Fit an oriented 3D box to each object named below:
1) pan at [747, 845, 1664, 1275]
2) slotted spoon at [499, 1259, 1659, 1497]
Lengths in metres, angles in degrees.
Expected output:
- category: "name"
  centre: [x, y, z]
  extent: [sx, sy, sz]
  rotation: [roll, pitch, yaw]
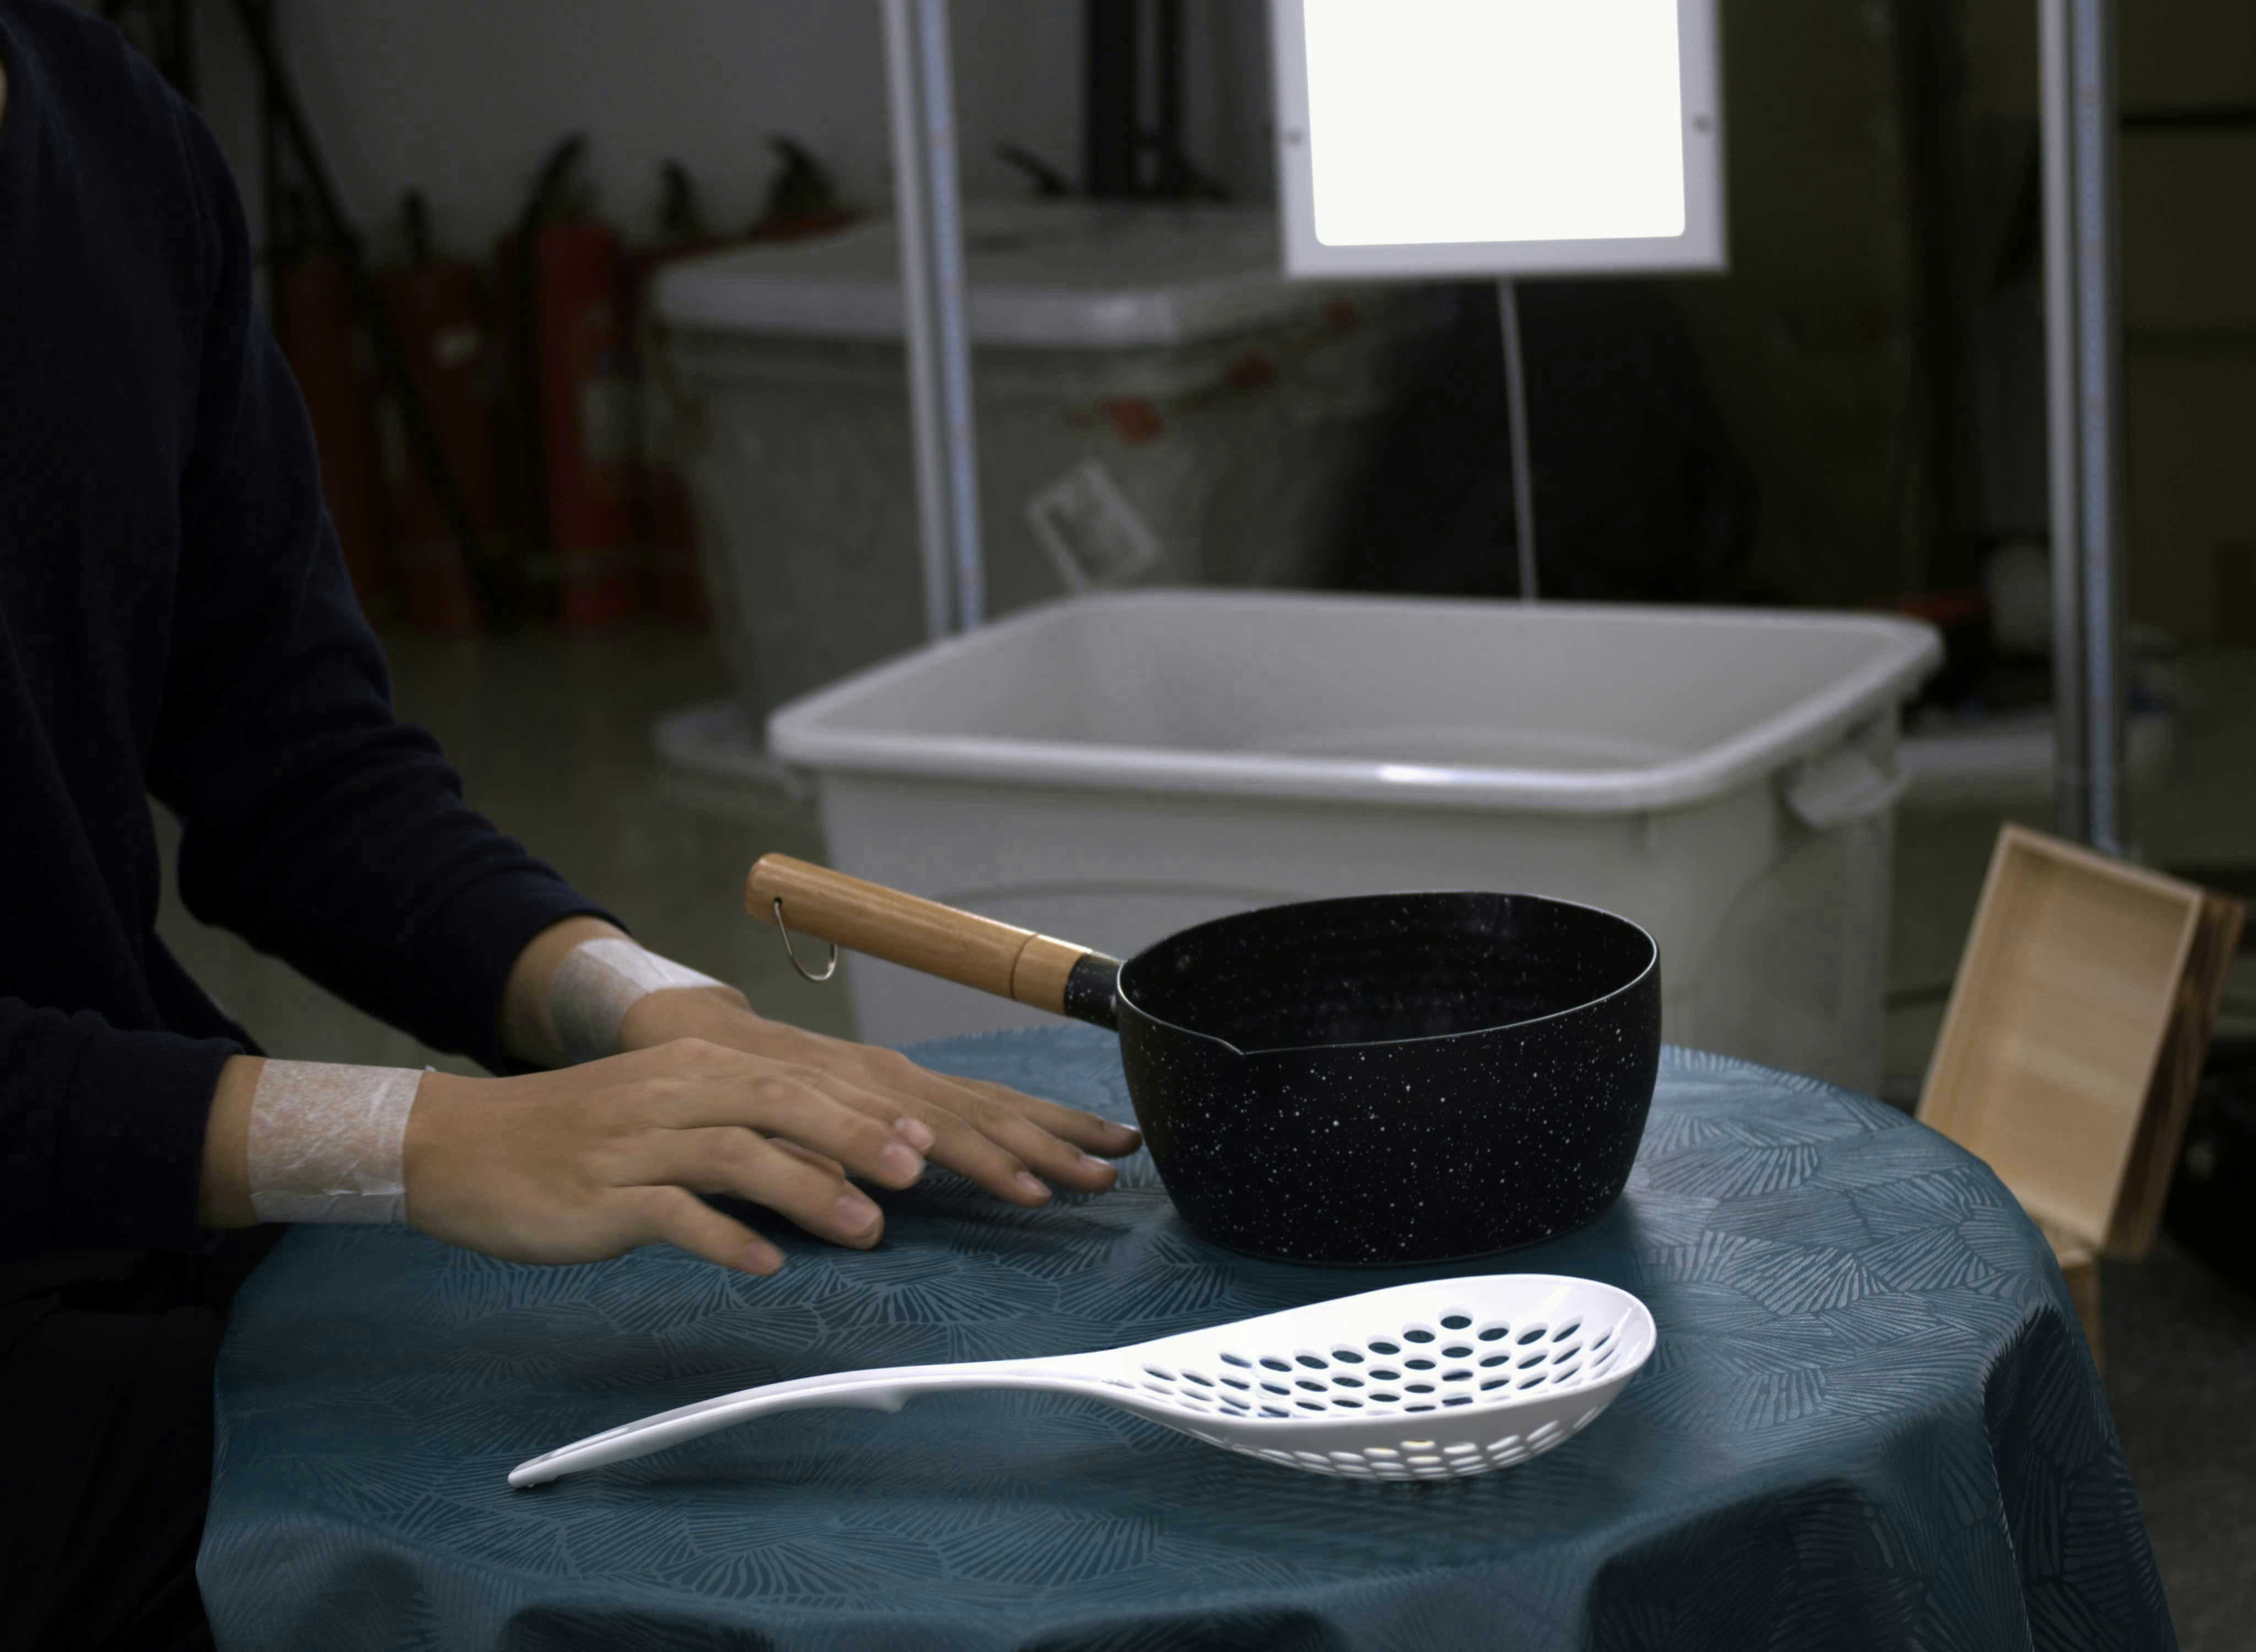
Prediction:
- category: "pan"
  centre: [0.019, 0.071, 1.889]
  extent: [0.349, 0.108, 0.203]
  rotation: [4, 17, 28]
- category: "slotted spoon"
  centre: [-0.016, 0.171, 1.630]
  extent: [0.349, 0.050, 0.135]
  rotation: [-1, 13, 9]
